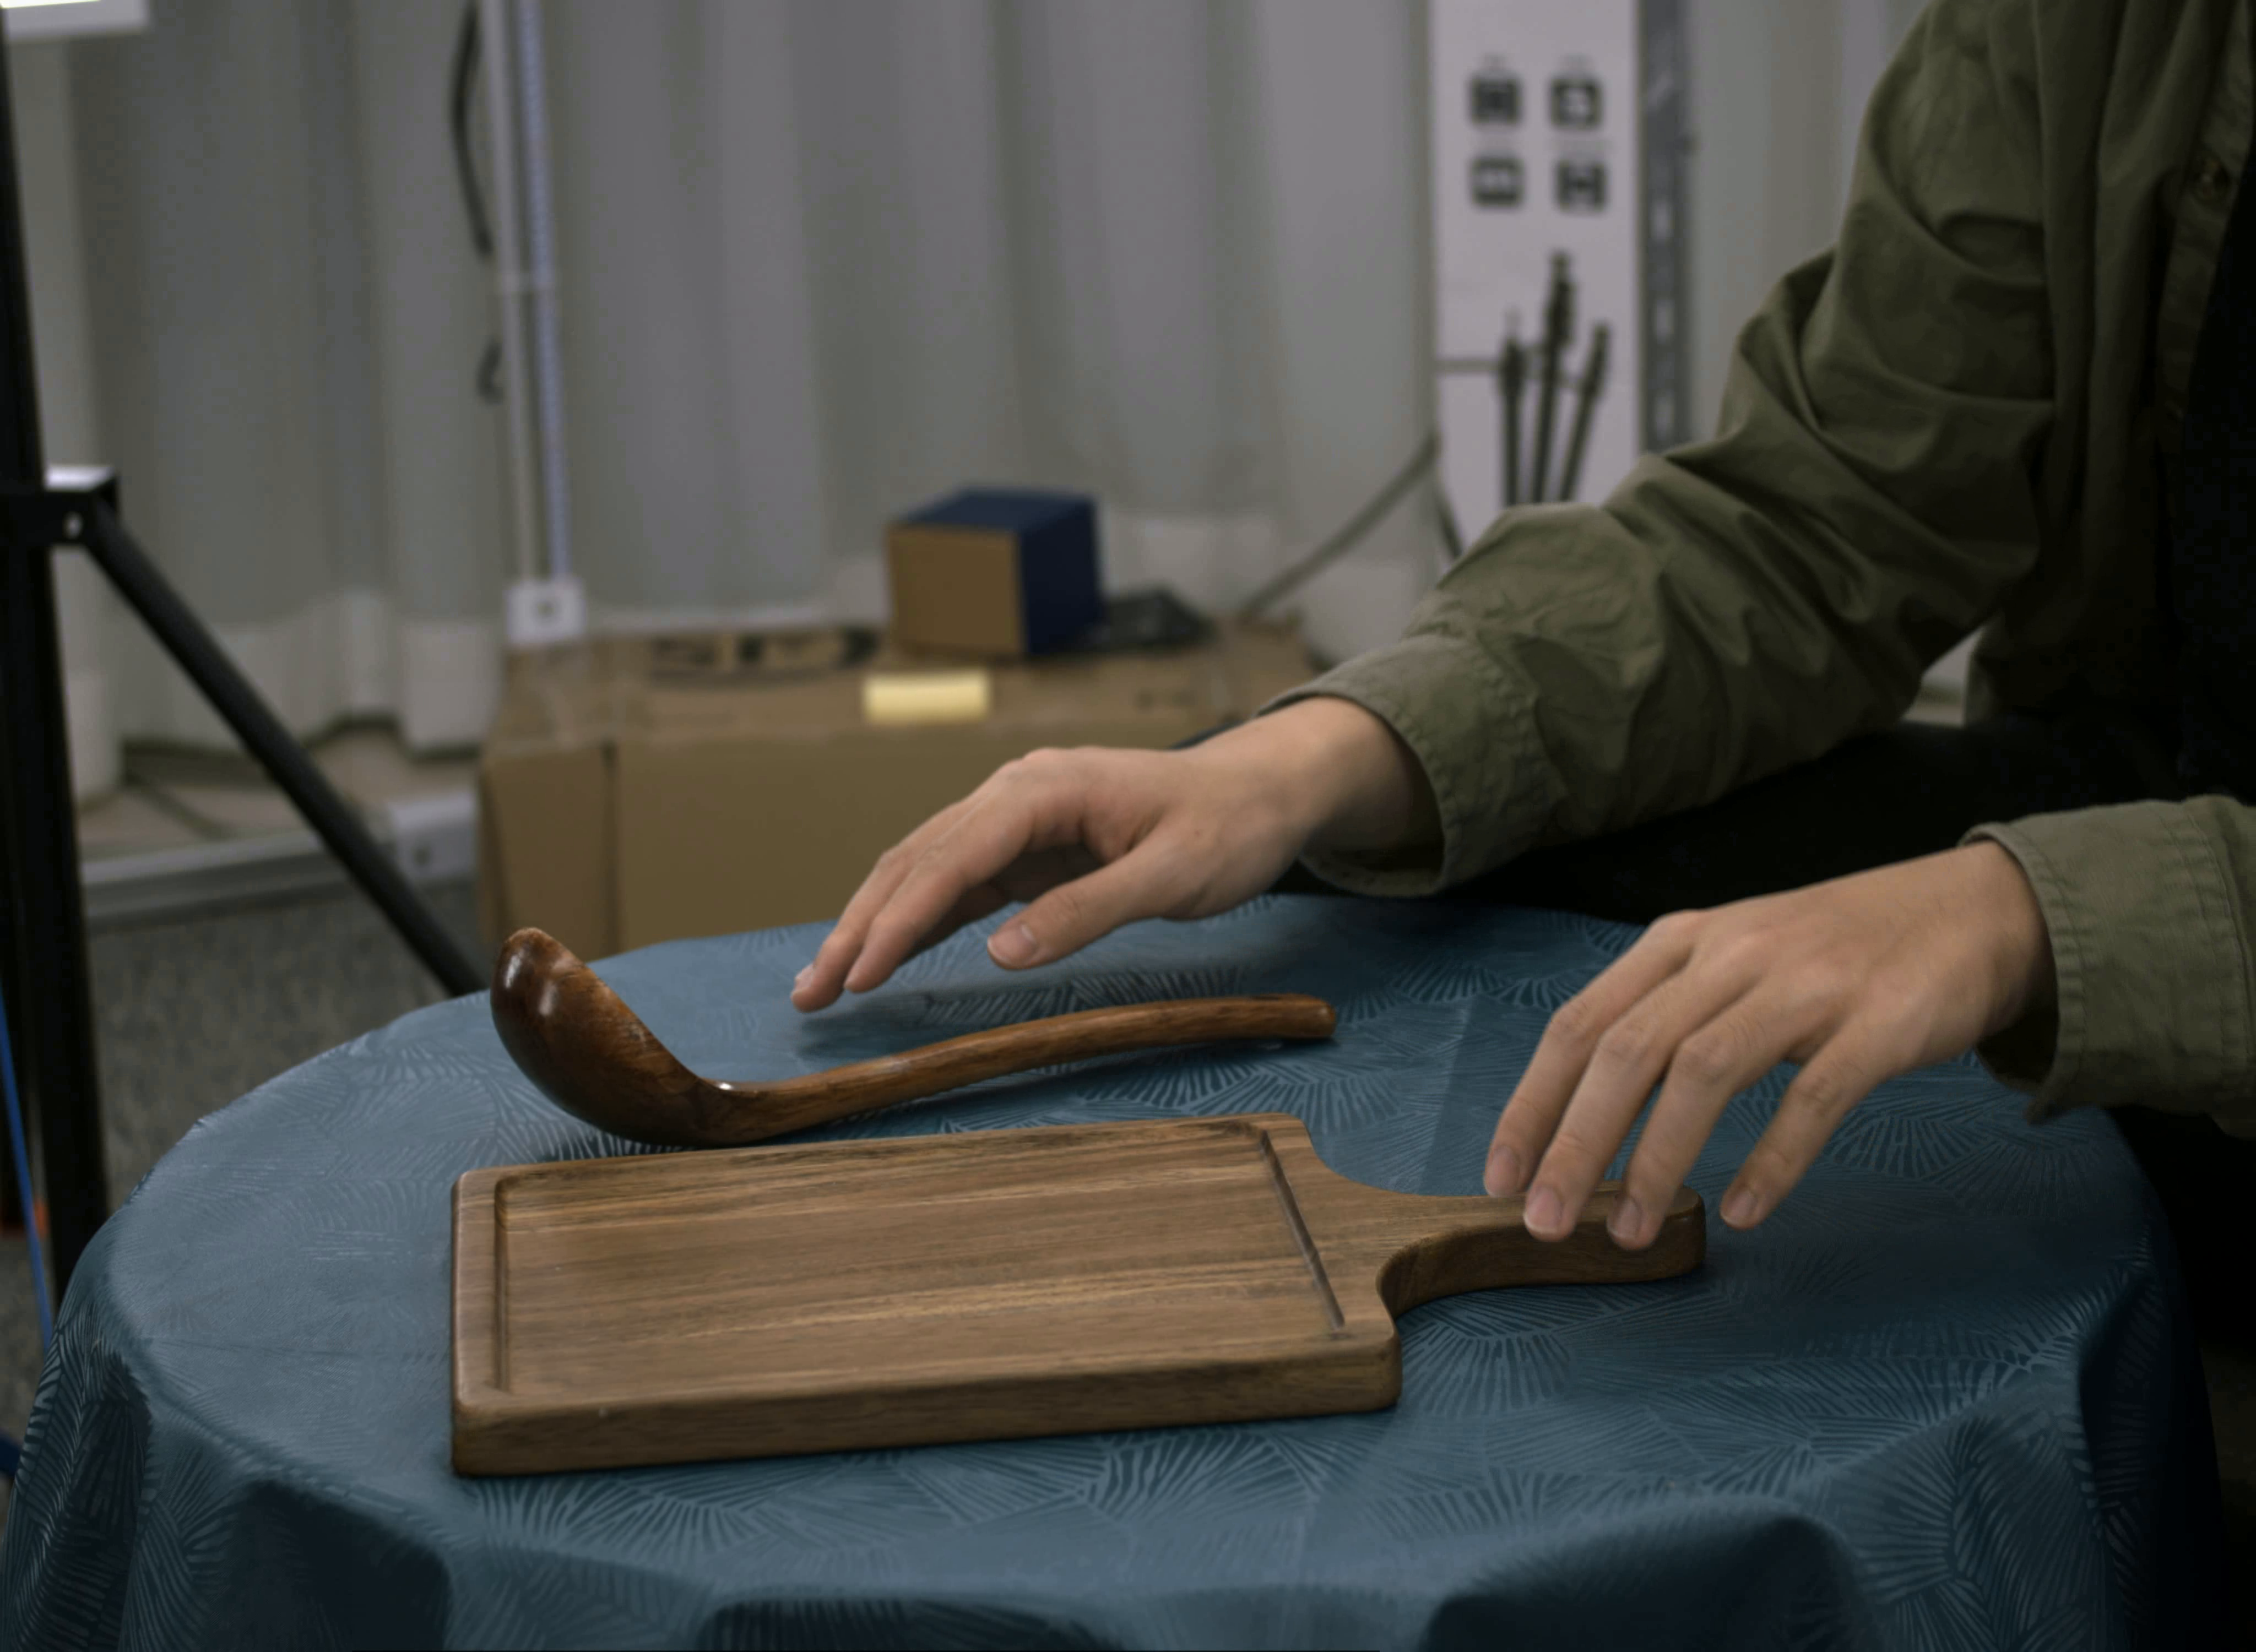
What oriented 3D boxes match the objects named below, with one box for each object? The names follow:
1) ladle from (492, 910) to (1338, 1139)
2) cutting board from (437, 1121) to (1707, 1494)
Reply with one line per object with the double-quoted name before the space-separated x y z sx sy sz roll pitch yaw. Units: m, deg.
"ladle" -0.063 0.047 1.647 0.269 0.077 0.083 -8 12 -21
"cutting board" -0.013 0.127 1.461 0.350 0.023 0.202 -3 16 -3
